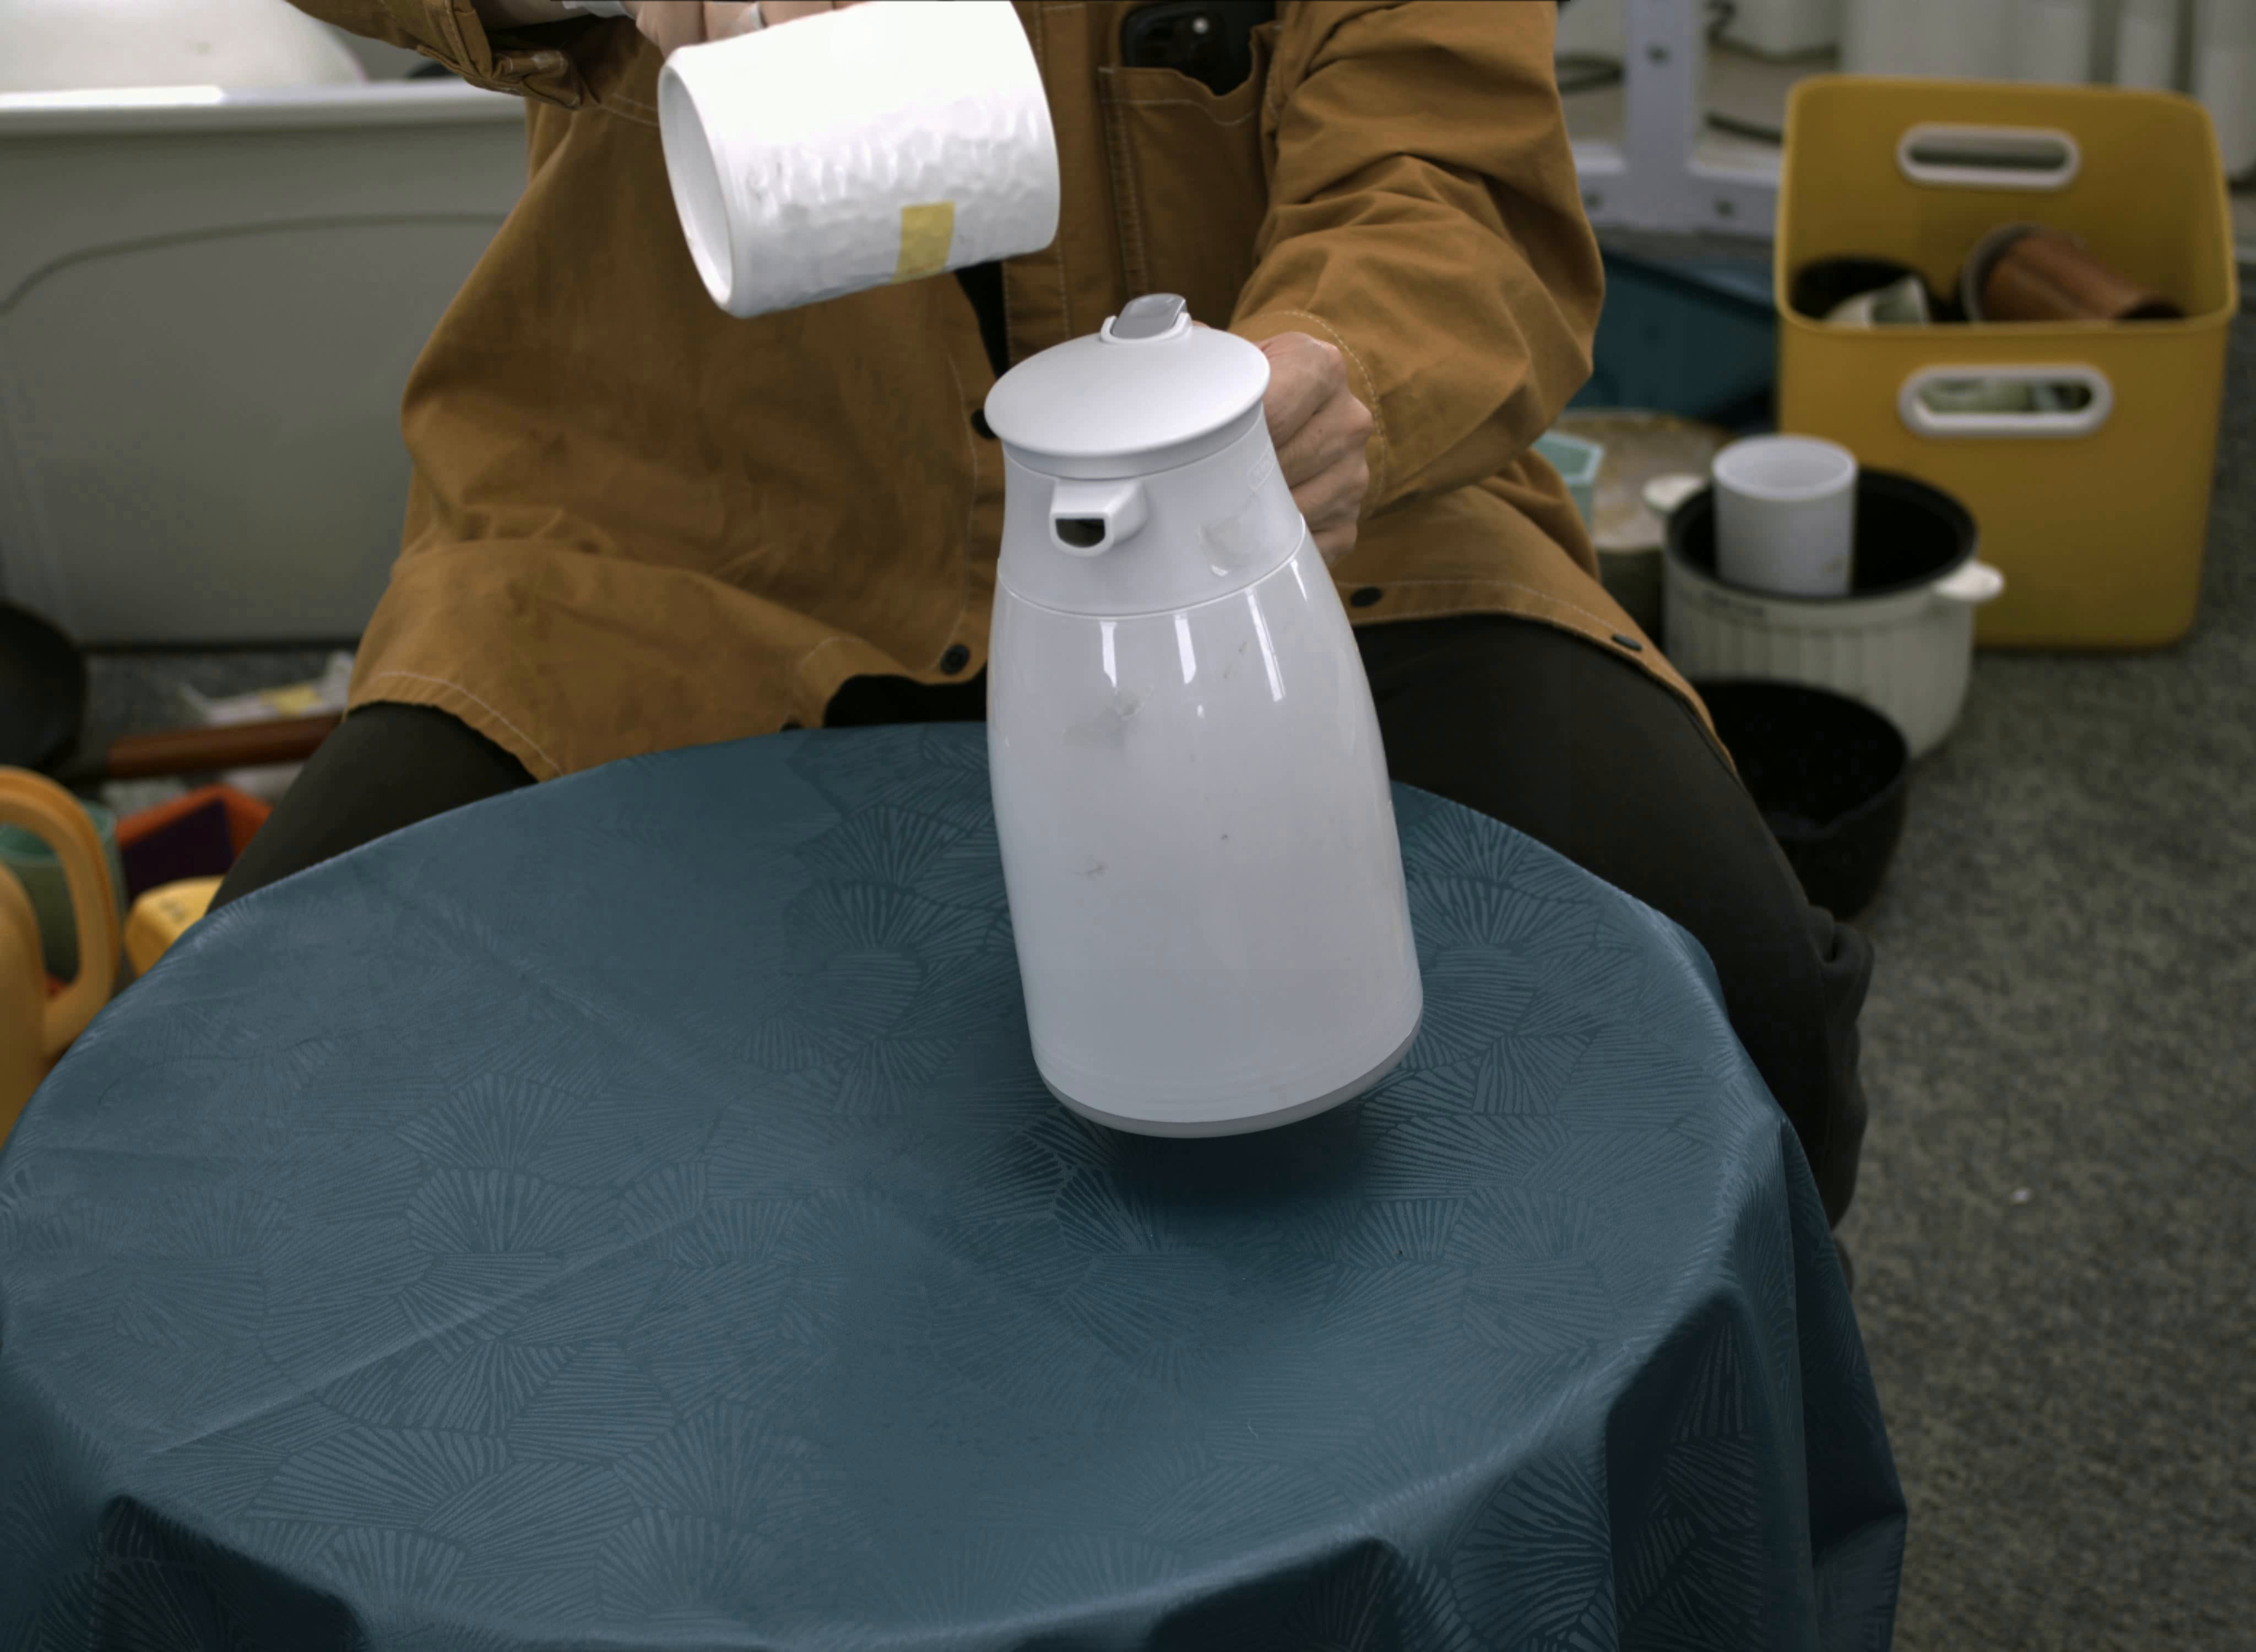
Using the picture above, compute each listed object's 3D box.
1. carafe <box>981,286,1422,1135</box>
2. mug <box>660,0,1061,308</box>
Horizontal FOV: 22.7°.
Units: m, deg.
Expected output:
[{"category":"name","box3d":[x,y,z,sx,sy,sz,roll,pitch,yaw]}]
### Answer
[{"category":"carafe","box3d":[0.019,-0.048,1.841,0.131,0.246,0.171,-1,28,16]},{"category":"mug","box3d":[-0.088,-0.218,1.718,0.102,0.083,0.120,-15,47,-15]}]
